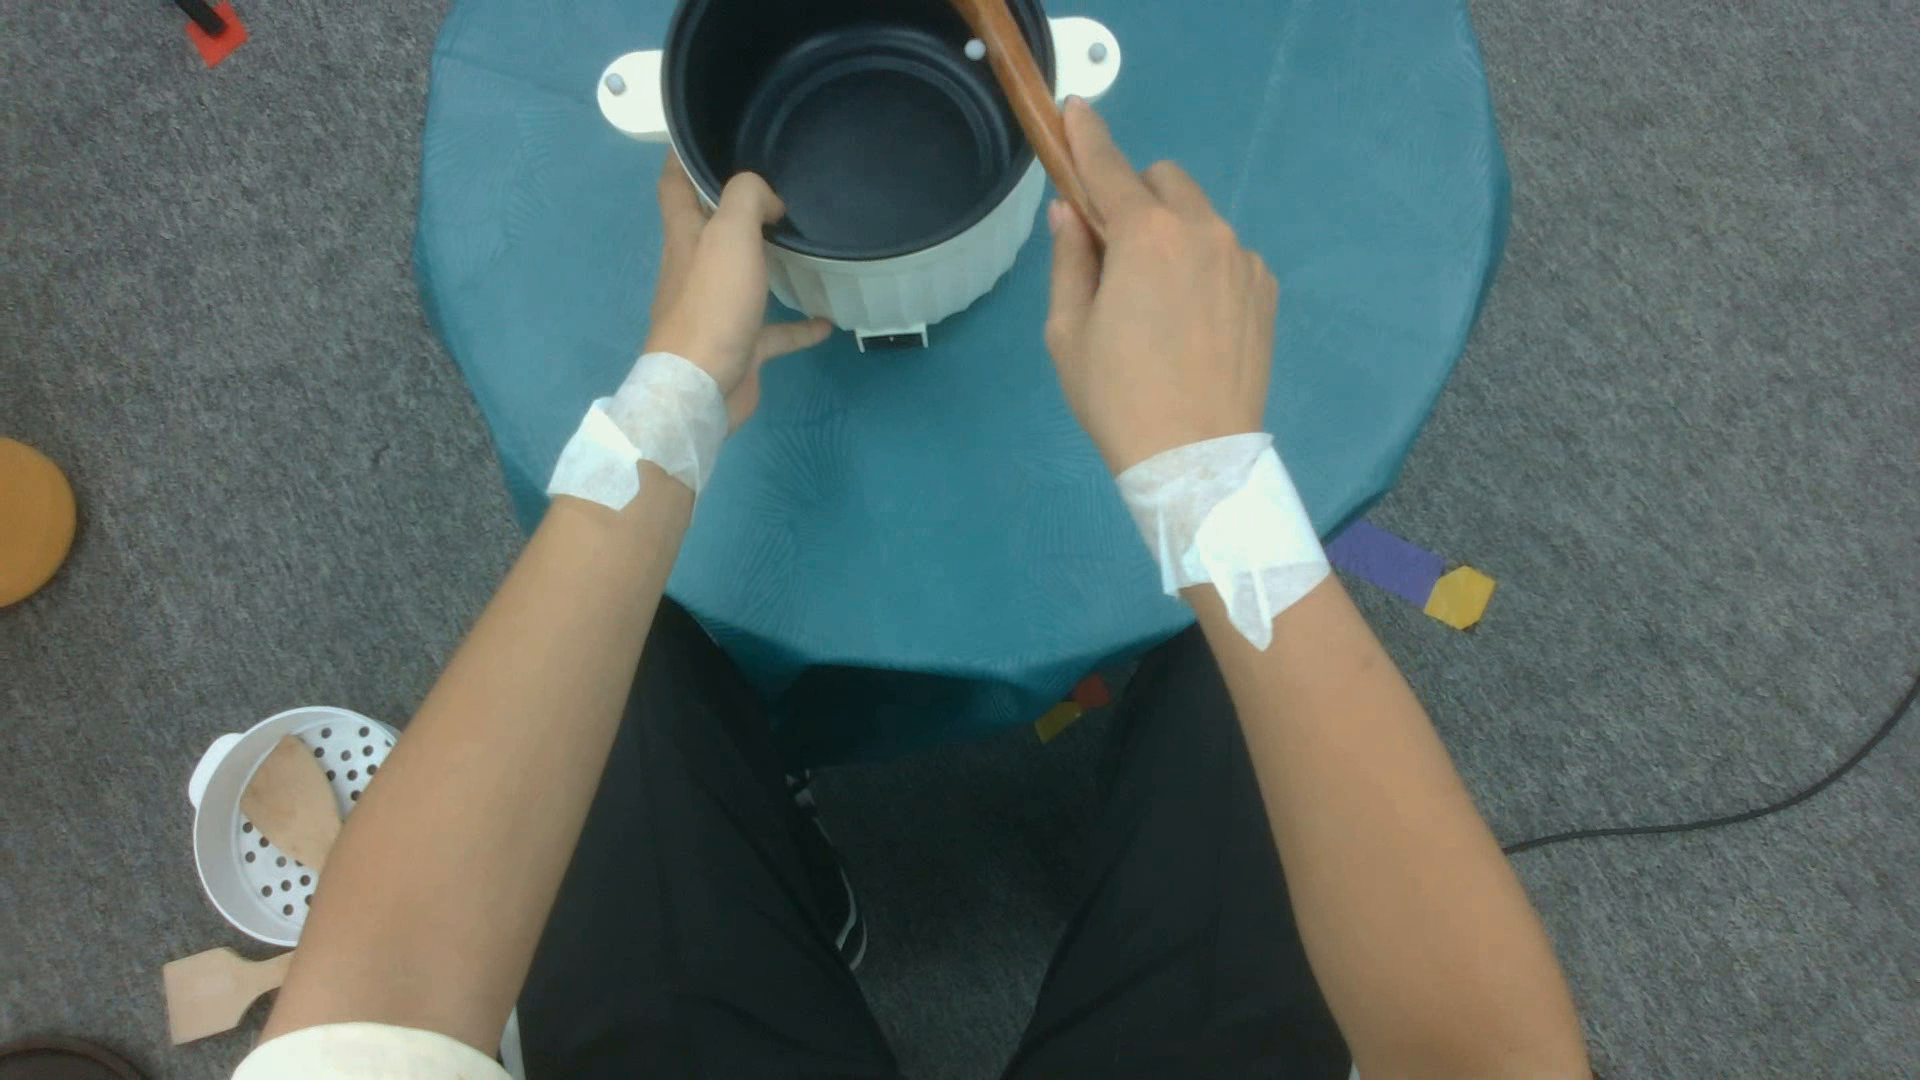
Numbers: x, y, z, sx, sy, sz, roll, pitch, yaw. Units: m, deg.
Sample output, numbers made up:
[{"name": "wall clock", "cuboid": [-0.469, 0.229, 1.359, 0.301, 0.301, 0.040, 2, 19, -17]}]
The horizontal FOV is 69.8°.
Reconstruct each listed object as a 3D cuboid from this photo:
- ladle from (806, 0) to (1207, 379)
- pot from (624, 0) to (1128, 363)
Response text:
[{"name": "ladle", "cuboid": [0.004, -0.171, 0.586, 0.076, 0.082, 0.274, -29, 77, 0]}, {"name": "pot", "cuboid": [-0.040, -0.201, 0.713, 0.240, 0.142, 0.191, -5, 81, -1]}]
